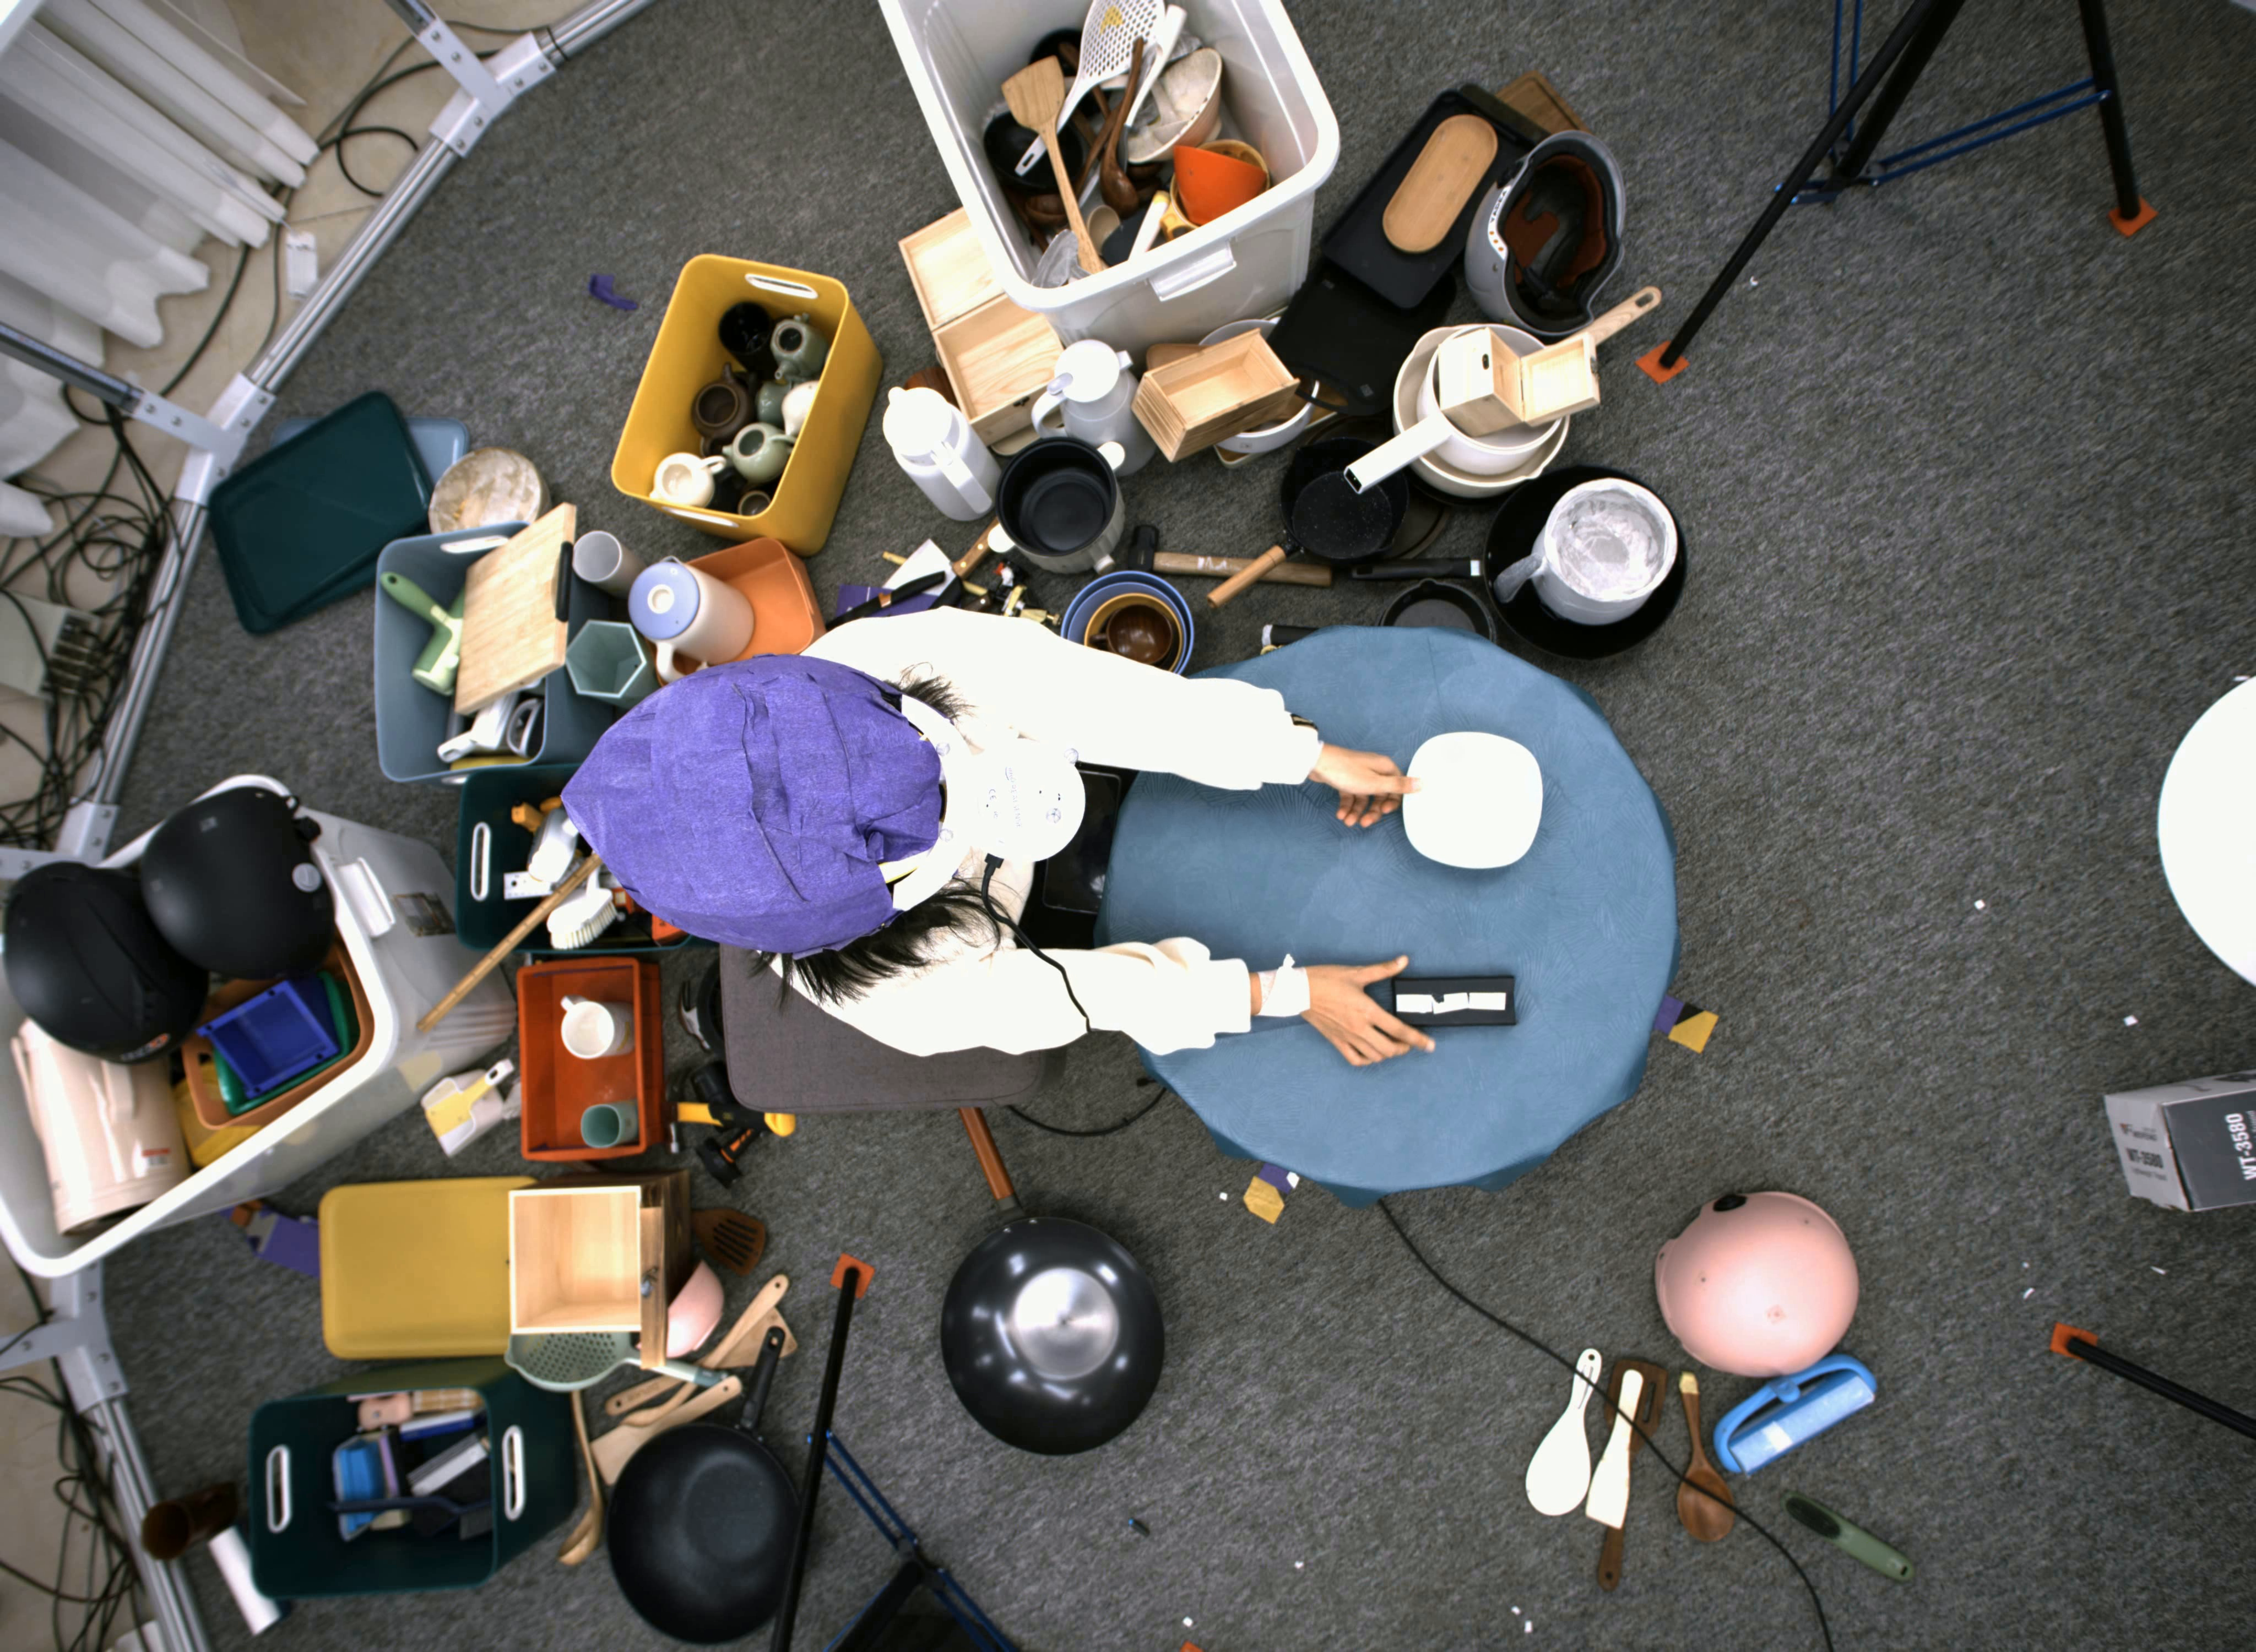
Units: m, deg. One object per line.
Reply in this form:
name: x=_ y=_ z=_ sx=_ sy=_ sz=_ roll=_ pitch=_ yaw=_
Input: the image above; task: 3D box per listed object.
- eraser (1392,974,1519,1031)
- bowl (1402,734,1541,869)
eraser: x=0.338 y=0.180 z=1.428 sx=0.126 sy=0.030 sz=0.053 roll=-4 pitch=84 yaw=12
bowl: x=0.353 y=-0.024 z=1.422 sx=0.152 sy=0.059 sz=0.150 roll=-1 pitch=84 yaw=10
